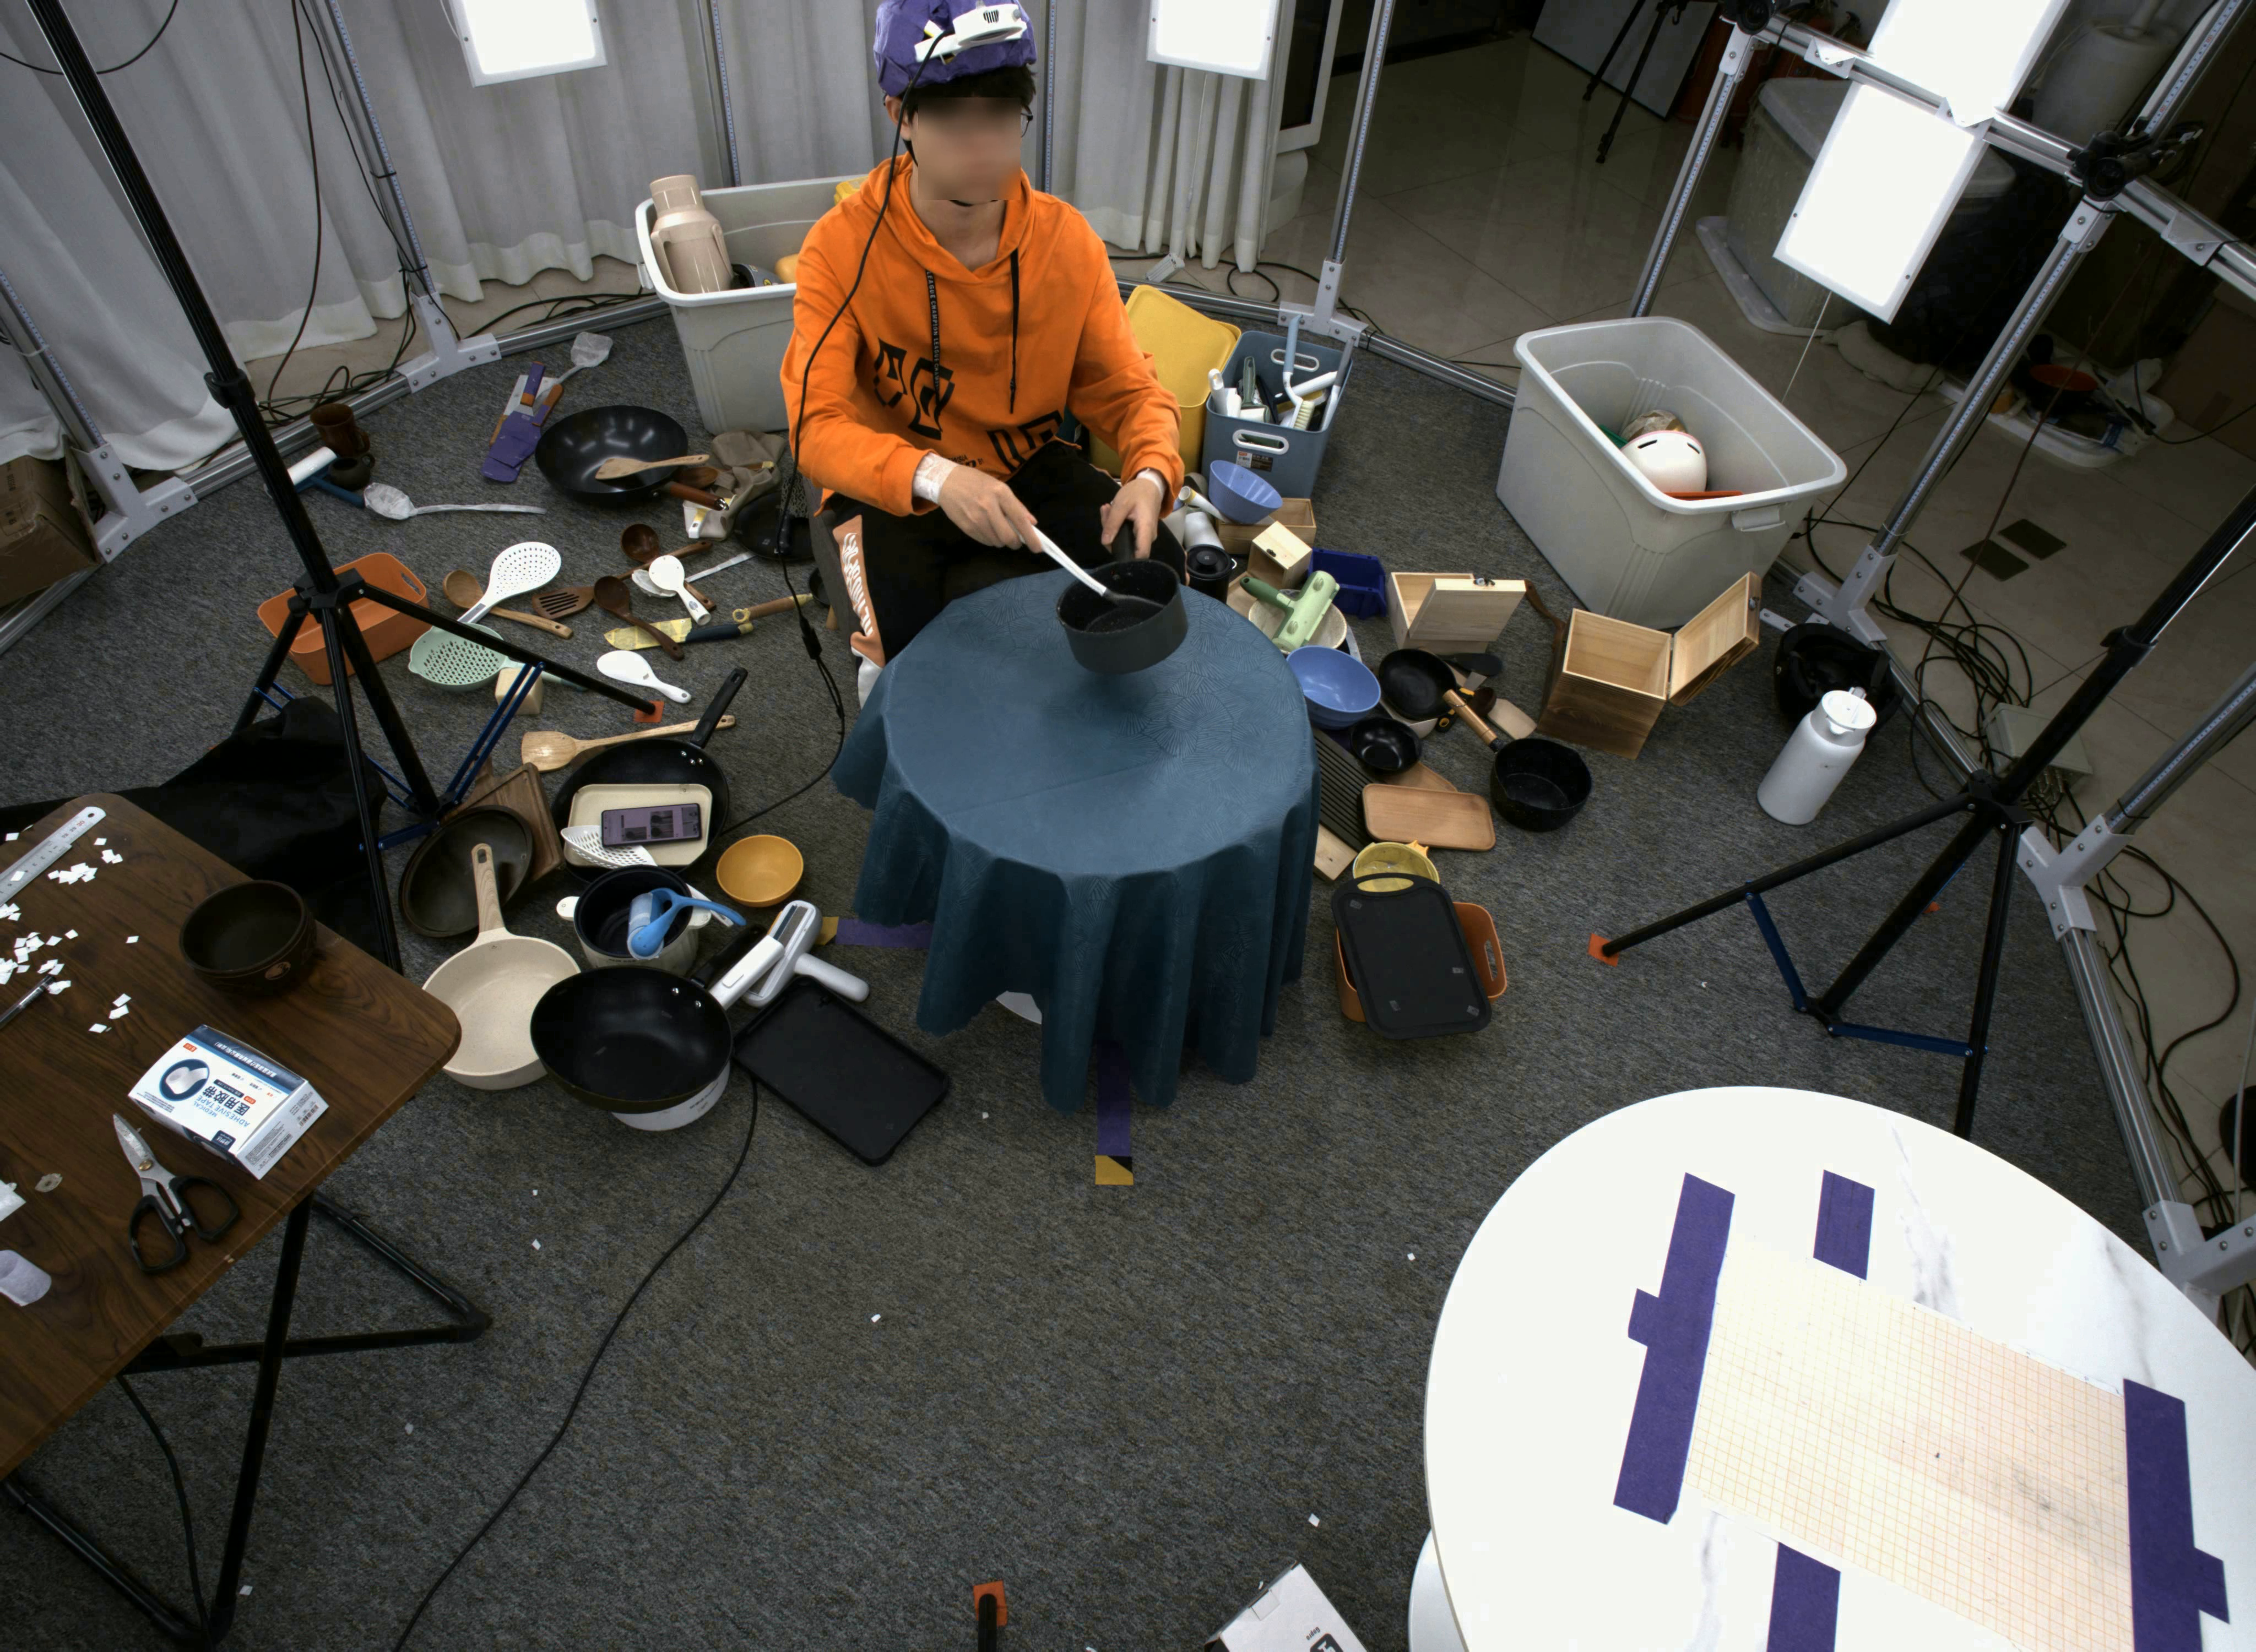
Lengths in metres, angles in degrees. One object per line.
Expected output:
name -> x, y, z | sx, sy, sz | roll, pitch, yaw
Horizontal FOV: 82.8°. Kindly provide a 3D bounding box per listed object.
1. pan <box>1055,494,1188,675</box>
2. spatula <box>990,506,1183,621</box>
pan -> -0.002, -0.340, 1.800 | 0.172, 0.084, 0.337 | -7, 43, 12
spatula -> -0.055, -0.341, 1.729 | 0.287, 0.058, 0.032 | 31, 75, 0
